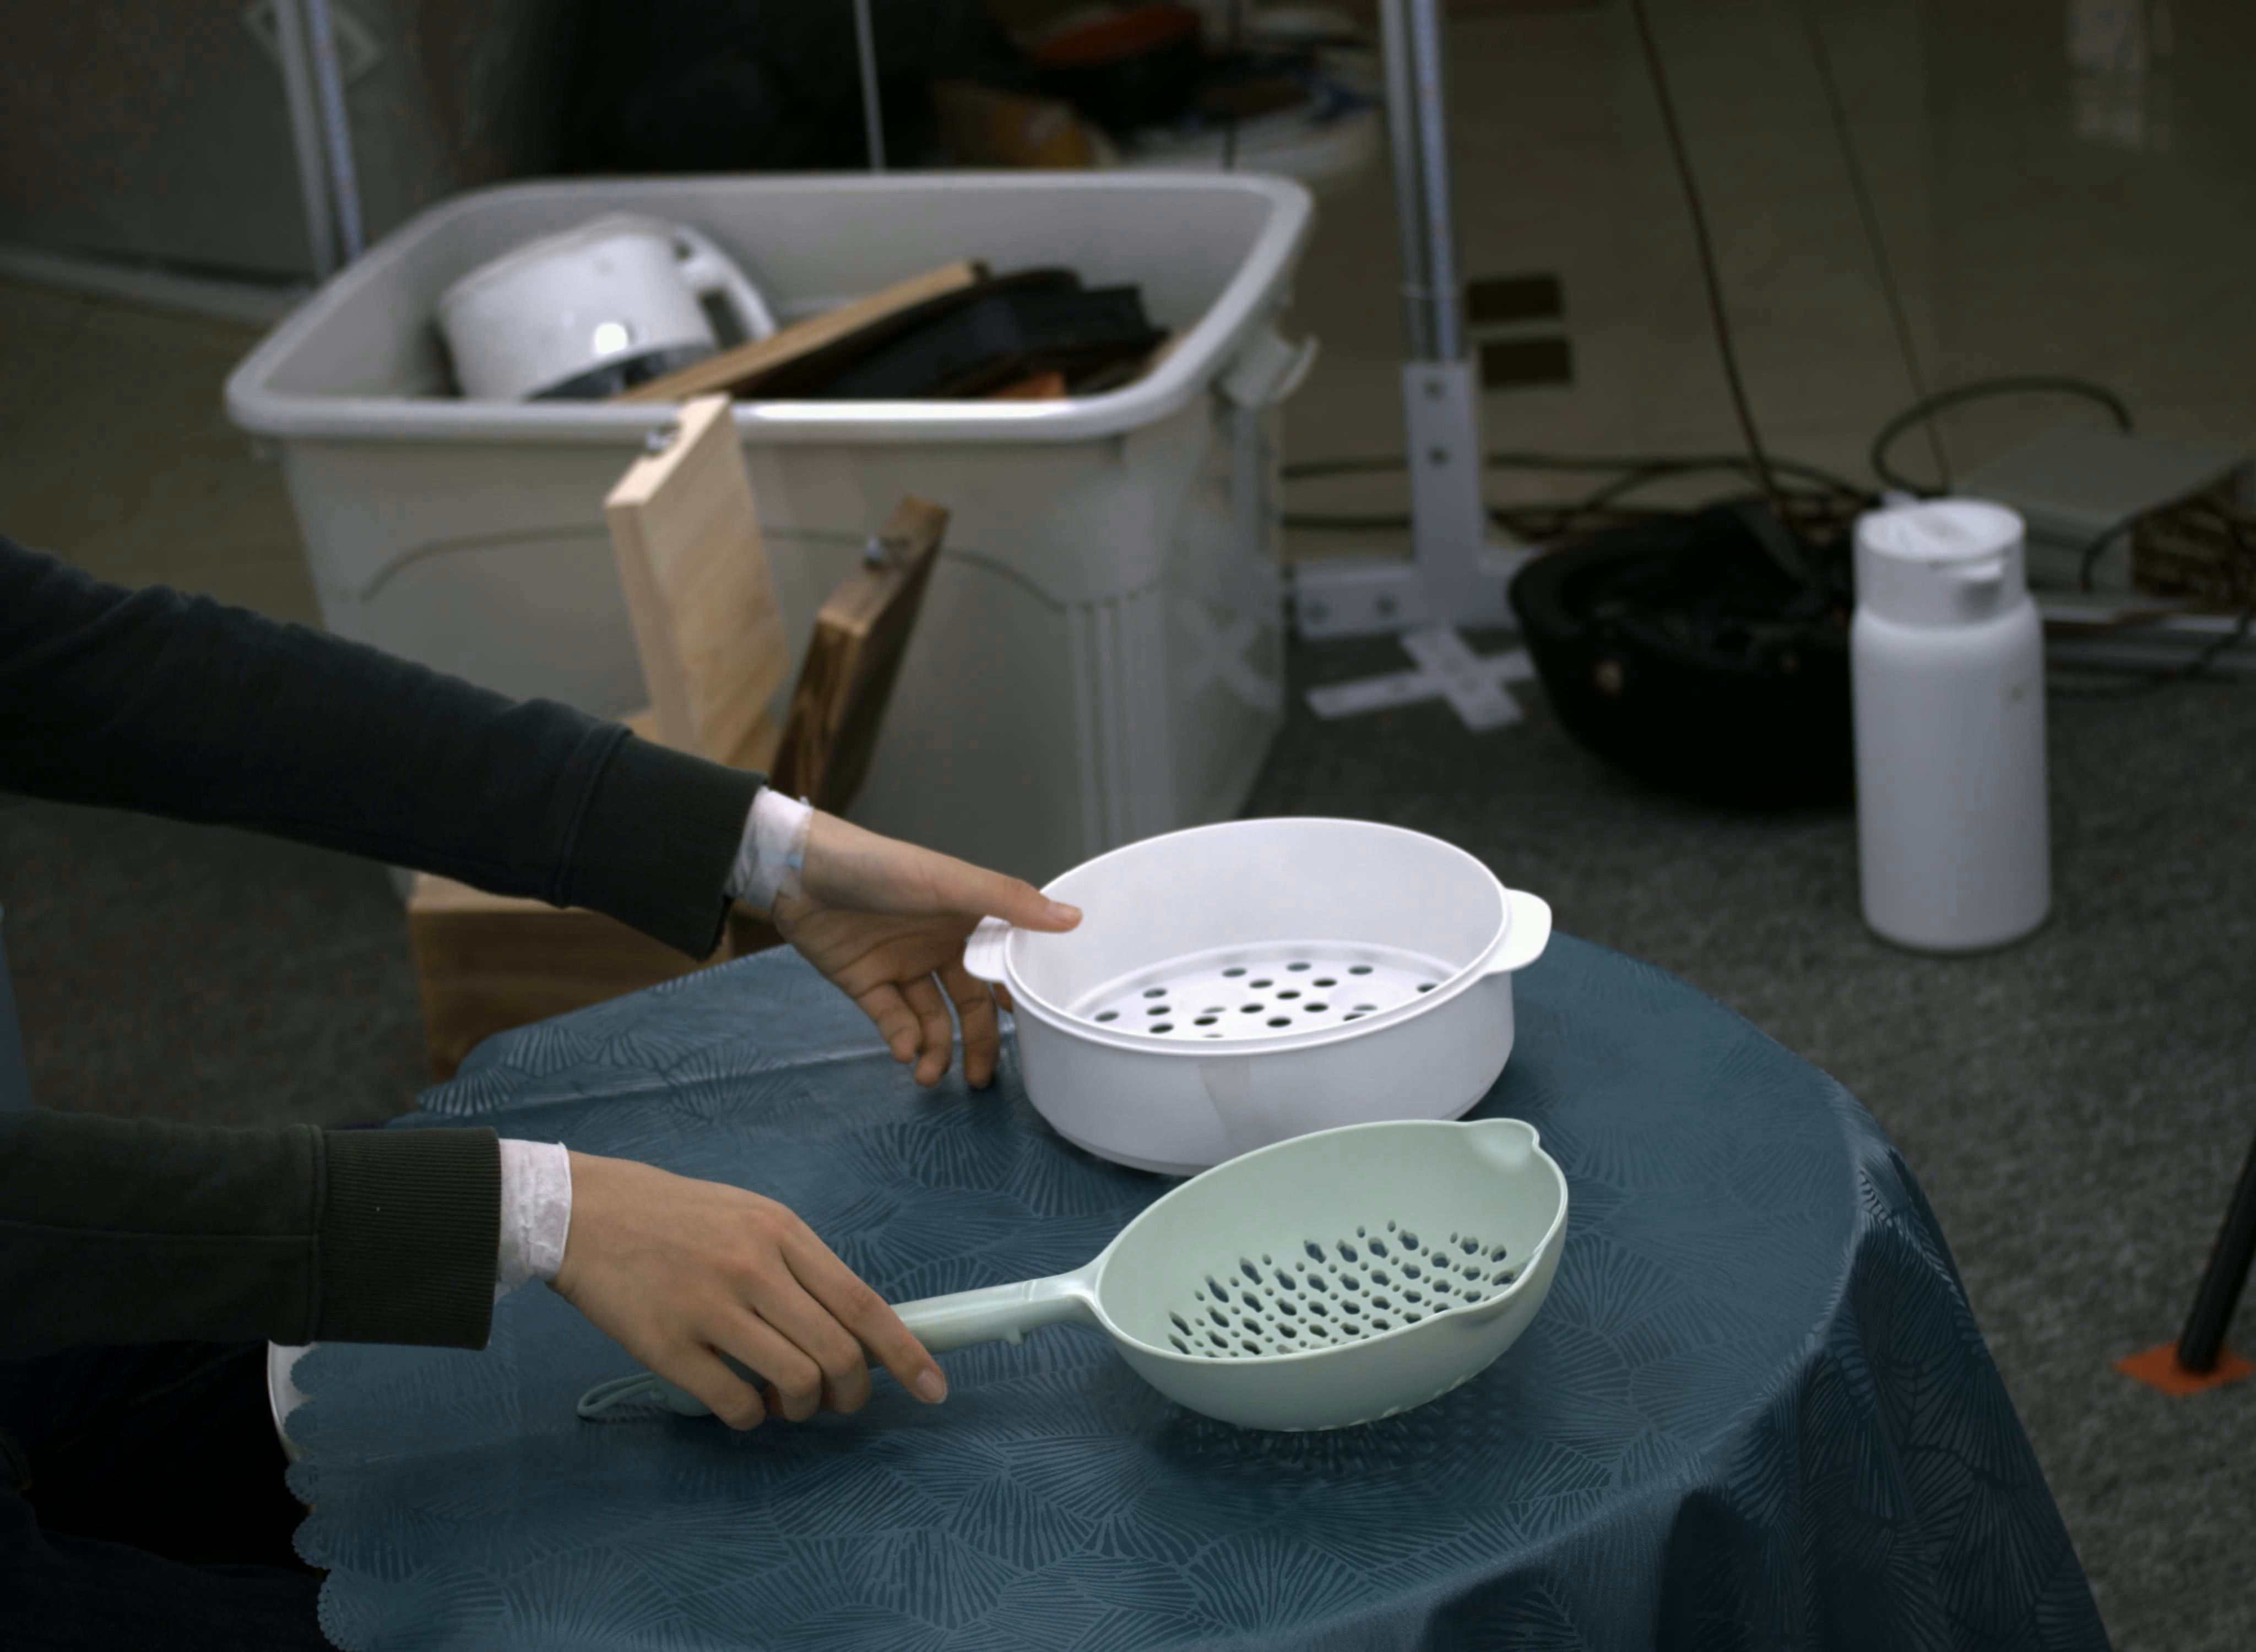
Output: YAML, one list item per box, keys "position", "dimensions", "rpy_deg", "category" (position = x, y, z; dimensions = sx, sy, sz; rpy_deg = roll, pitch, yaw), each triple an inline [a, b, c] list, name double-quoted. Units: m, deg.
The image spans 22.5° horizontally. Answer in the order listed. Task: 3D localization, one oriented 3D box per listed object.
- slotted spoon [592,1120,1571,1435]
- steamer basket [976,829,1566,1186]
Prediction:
- position: [-0.020, 0.173, 2.009]
  dimensions: [0.358, 0.076, 0.167]
  rpy_deg: [-3, 23, 8]
  category: "slotted spoon"
- position: [0.058, 0.071, 2.210]
  dimensions: [0.230, 0.070, 0.199]
  rpy_deg: [-2, 24, 10]
  category: "steamer basket"
